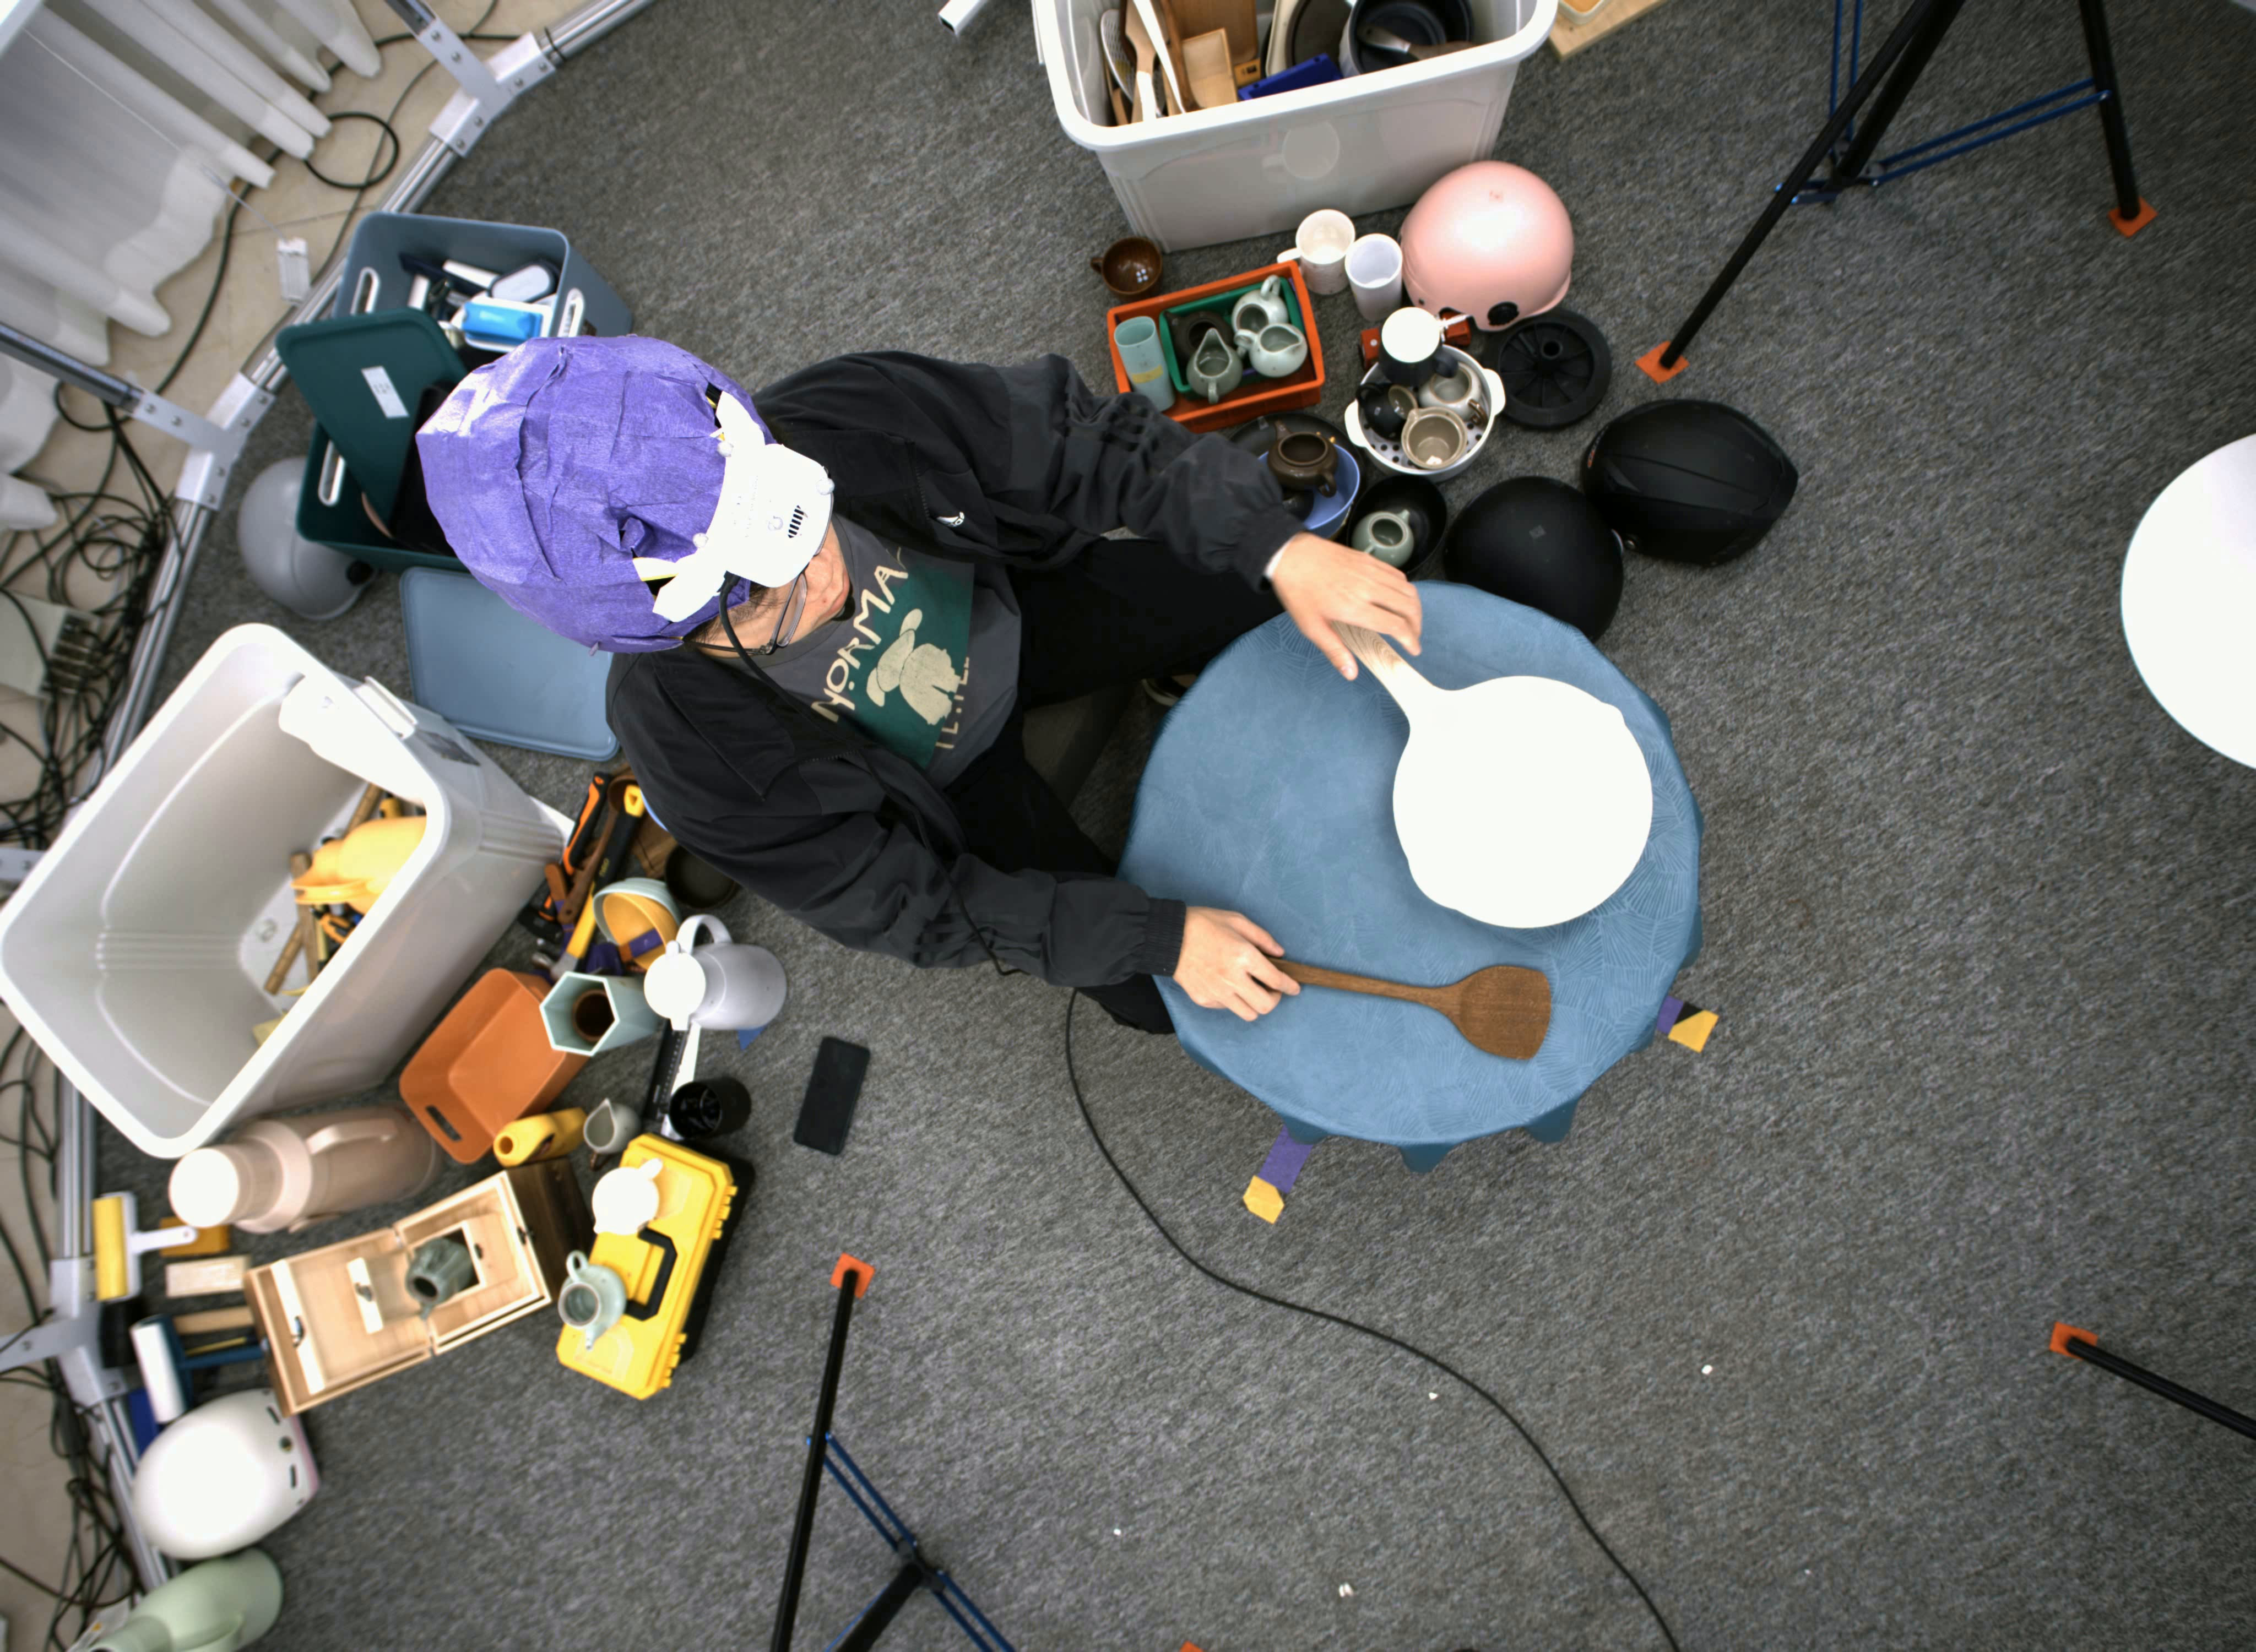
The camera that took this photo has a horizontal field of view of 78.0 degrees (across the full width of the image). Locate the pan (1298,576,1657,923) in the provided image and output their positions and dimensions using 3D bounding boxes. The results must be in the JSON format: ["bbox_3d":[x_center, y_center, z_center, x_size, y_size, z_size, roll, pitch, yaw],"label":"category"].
[{"bbox_3d":[0.336,-0.094,1.402,0.265,0.102,0.433,-44,81,7],"label":"pan"}]

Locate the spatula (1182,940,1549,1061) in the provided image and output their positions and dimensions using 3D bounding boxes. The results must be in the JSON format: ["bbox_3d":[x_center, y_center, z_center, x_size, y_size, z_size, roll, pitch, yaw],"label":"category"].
[{"bbox_3d":[0.245,0.164,1.448,0.387,0.016,0.096,10,88,9],"label":"spatula"}]
